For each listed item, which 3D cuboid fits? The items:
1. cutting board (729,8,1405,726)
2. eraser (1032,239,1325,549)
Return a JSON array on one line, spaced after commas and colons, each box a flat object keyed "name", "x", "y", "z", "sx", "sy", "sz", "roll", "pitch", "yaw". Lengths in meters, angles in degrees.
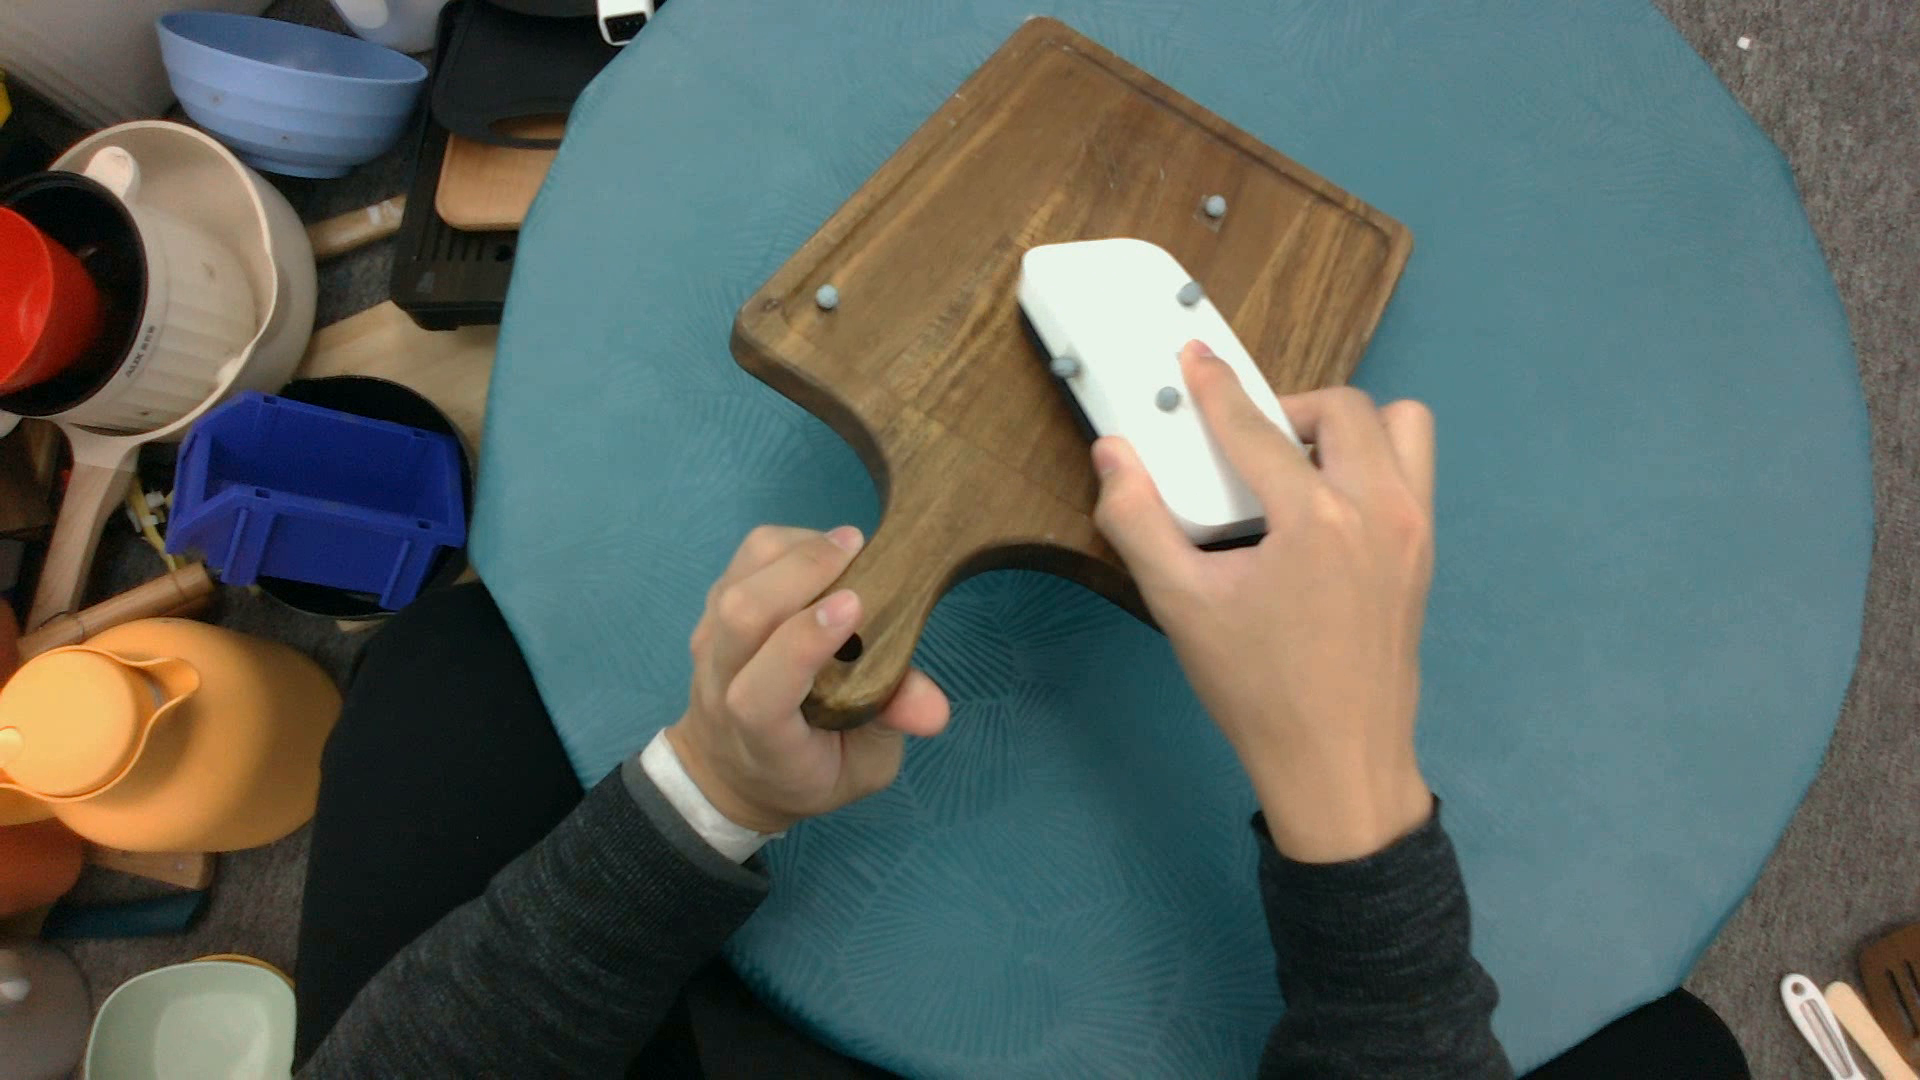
[{"name": "cutting board", "x": 0.035, "y": -0.070, "z": 0.509, "sx": 0.201, "sy": 0.023, "sz": 0.354, "roll": 32, "pitch": 53, "yaw": 3}, {"name": "eraser", "x": 0.072, "y": -0.056, "z": 0.482, "sx": 0.063, "sy": 0.034, "sz": 0.131, "roll": -9, "pitch": 54, "yaw": -24}]
